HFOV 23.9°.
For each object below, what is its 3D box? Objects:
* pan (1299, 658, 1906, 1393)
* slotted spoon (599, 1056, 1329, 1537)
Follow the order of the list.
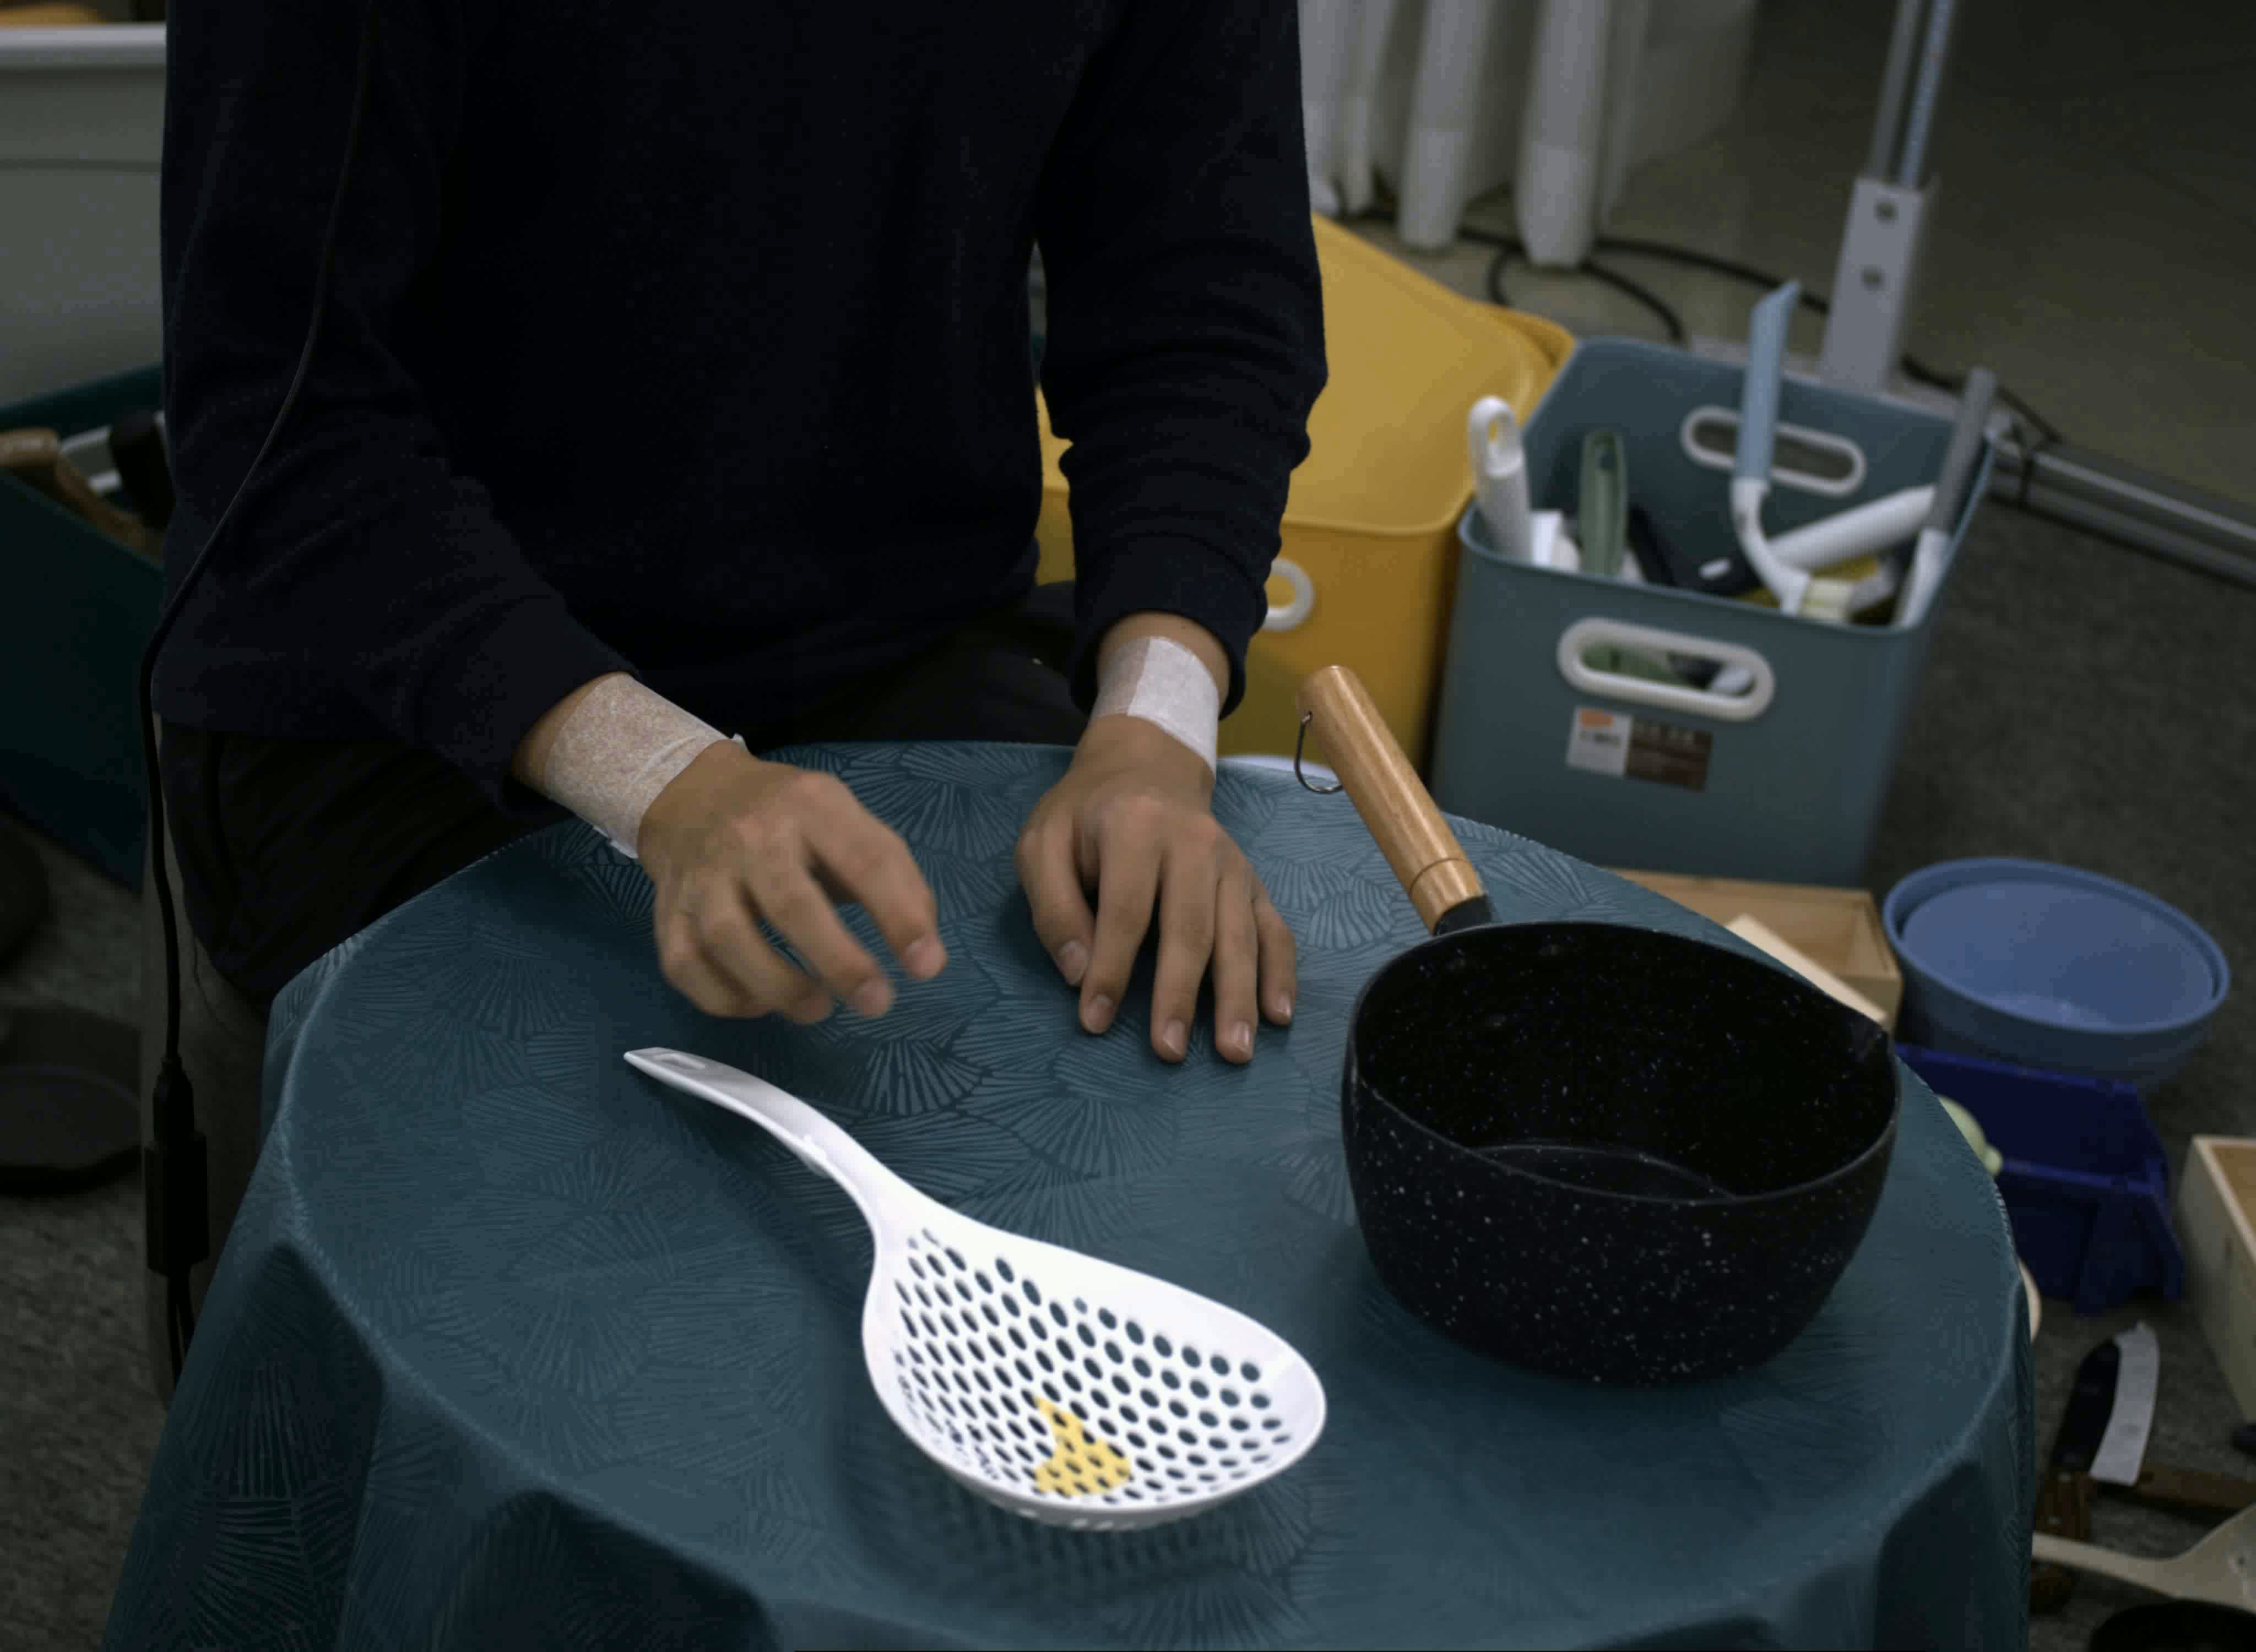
[{"bbox_3d":[0.129,0.065,1.827,0.206,0.108,0.346,-7,31,-23],"label":"pan"},{"bbox_3d":[-0.071,0.138,1.711,0.136,0.050,0.351,-14,35,-32],"label":"slotted spoon"}]
